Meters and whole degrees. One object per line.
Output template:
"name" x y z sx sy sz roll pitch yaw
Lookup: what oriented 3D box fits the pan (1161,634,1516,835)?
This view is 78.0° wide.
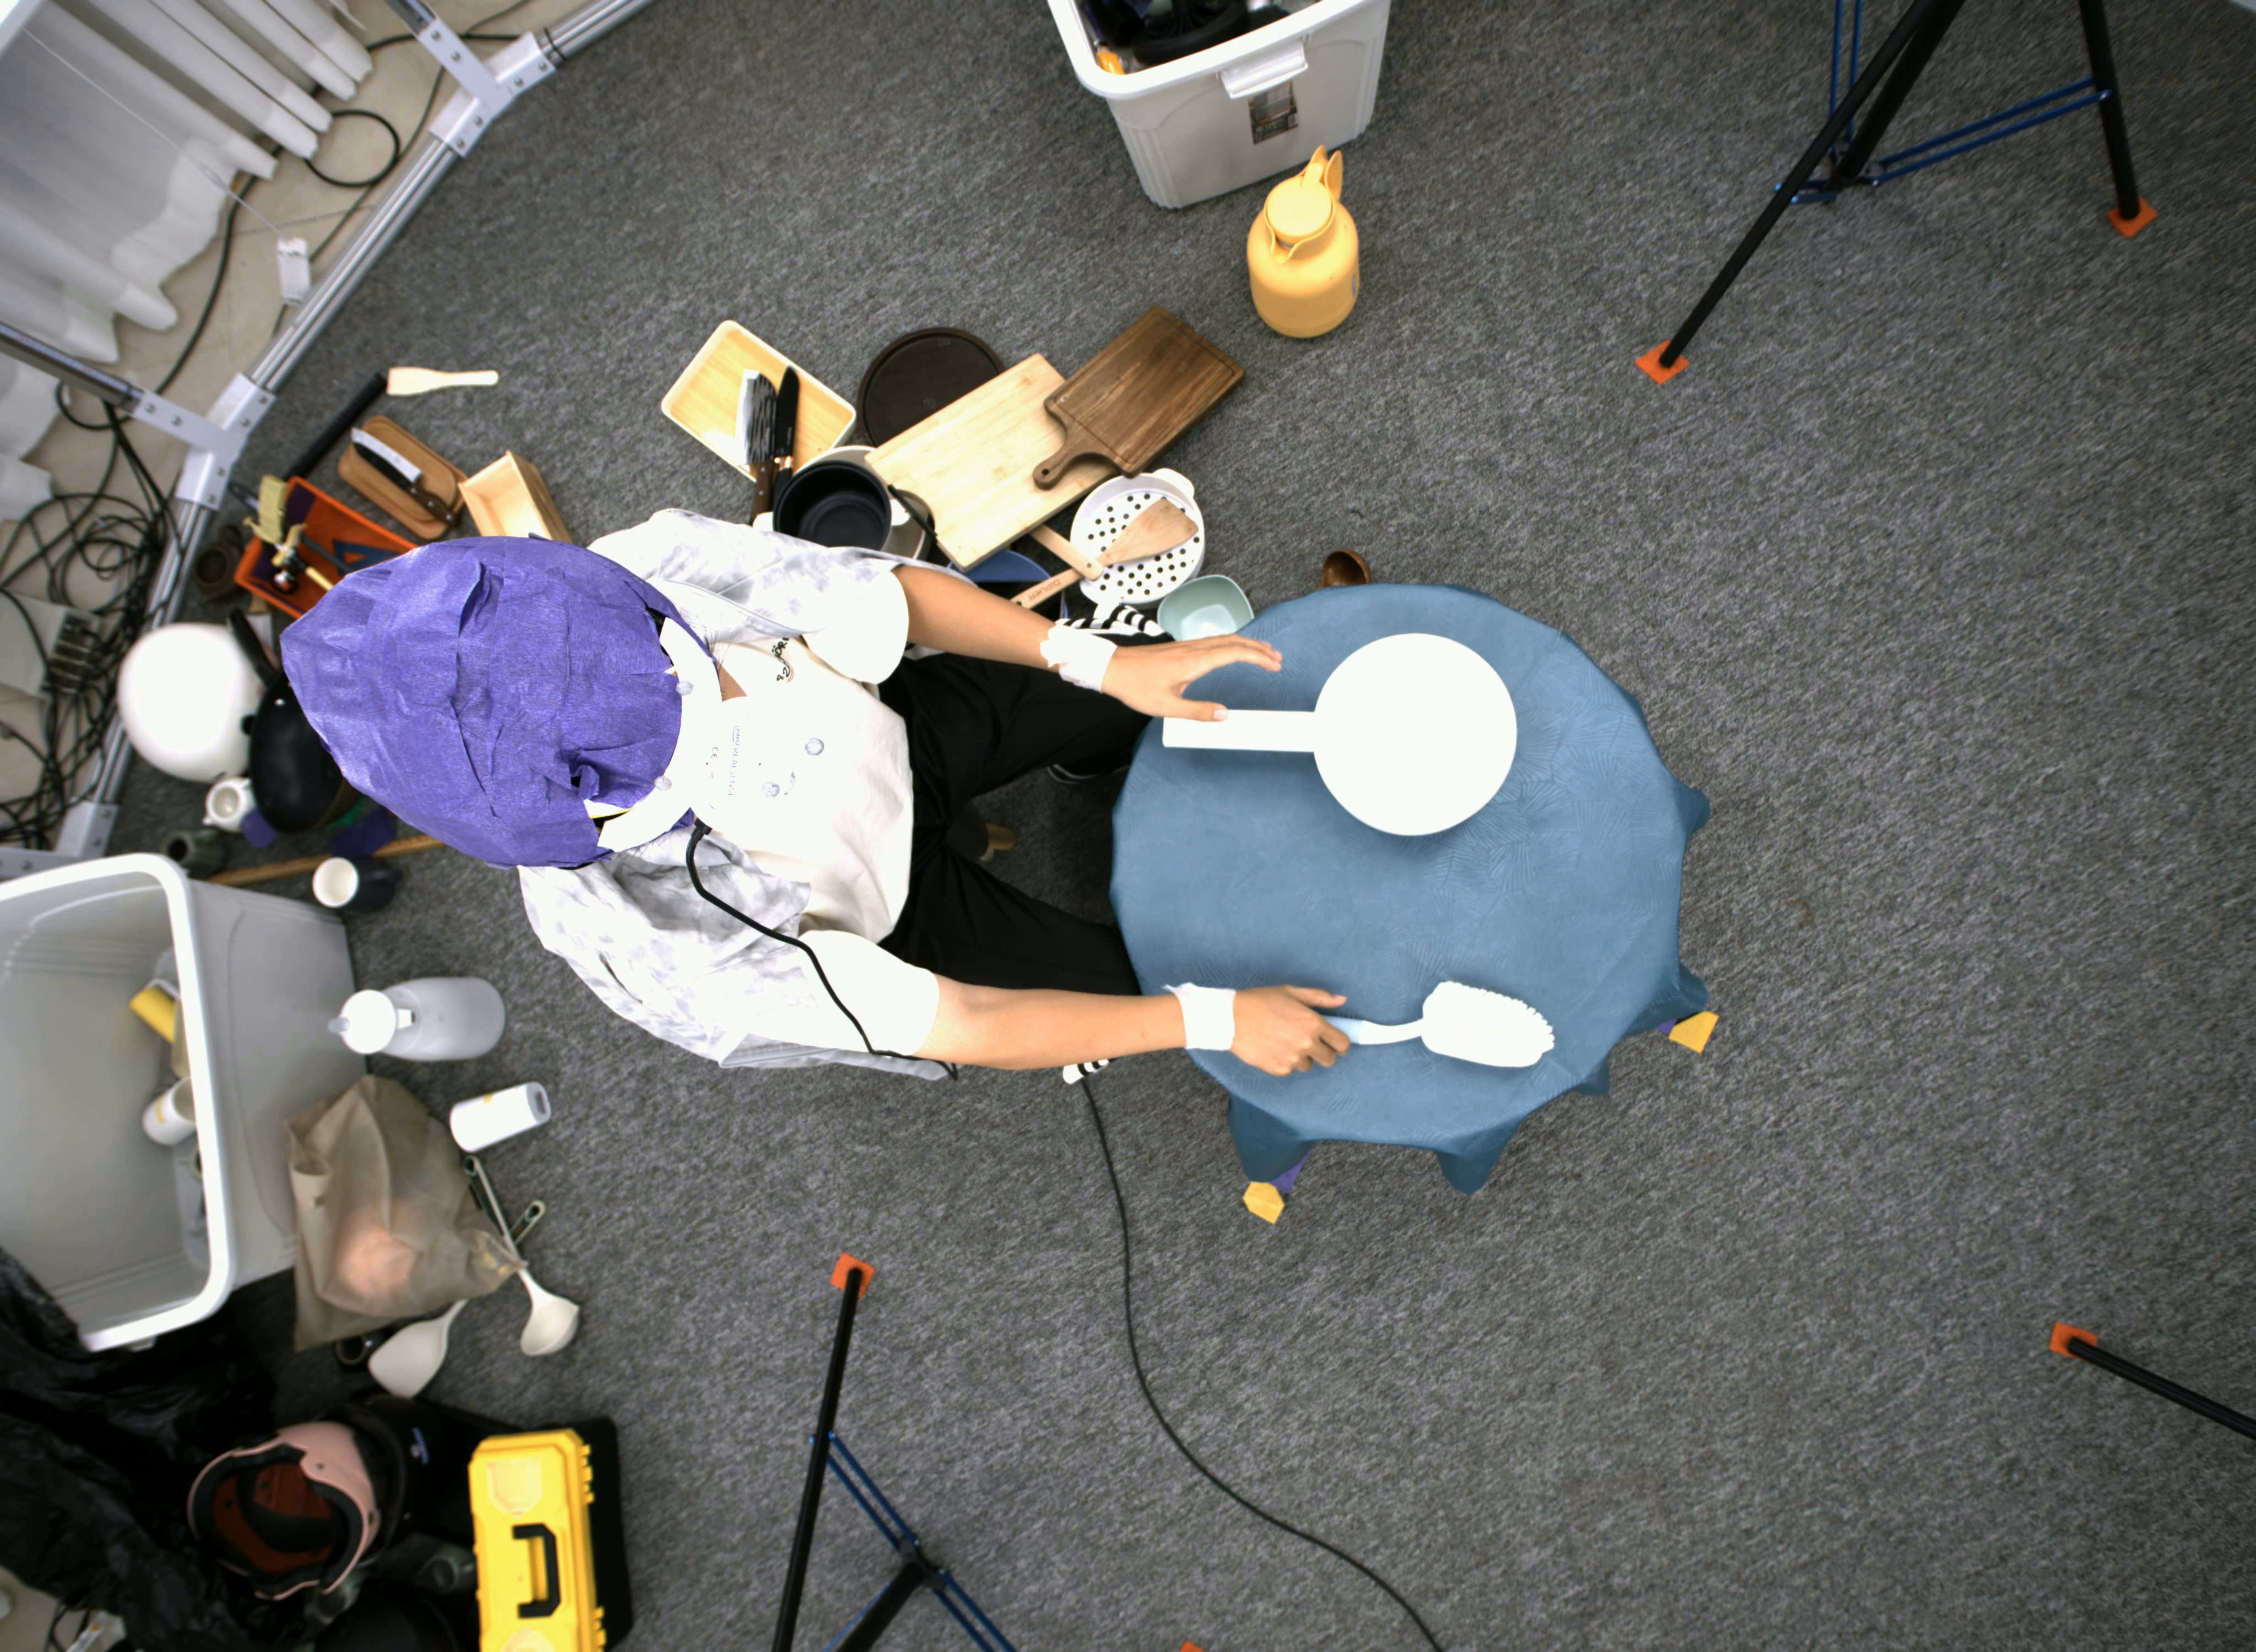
"pan" 0.216 -0.093 1.428 0.356 0.102 0.200 2 87 12

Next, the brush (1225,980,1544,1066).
"brush" 0.260 0.192 1.409 0.326 0.082 0.085 7 101 9
